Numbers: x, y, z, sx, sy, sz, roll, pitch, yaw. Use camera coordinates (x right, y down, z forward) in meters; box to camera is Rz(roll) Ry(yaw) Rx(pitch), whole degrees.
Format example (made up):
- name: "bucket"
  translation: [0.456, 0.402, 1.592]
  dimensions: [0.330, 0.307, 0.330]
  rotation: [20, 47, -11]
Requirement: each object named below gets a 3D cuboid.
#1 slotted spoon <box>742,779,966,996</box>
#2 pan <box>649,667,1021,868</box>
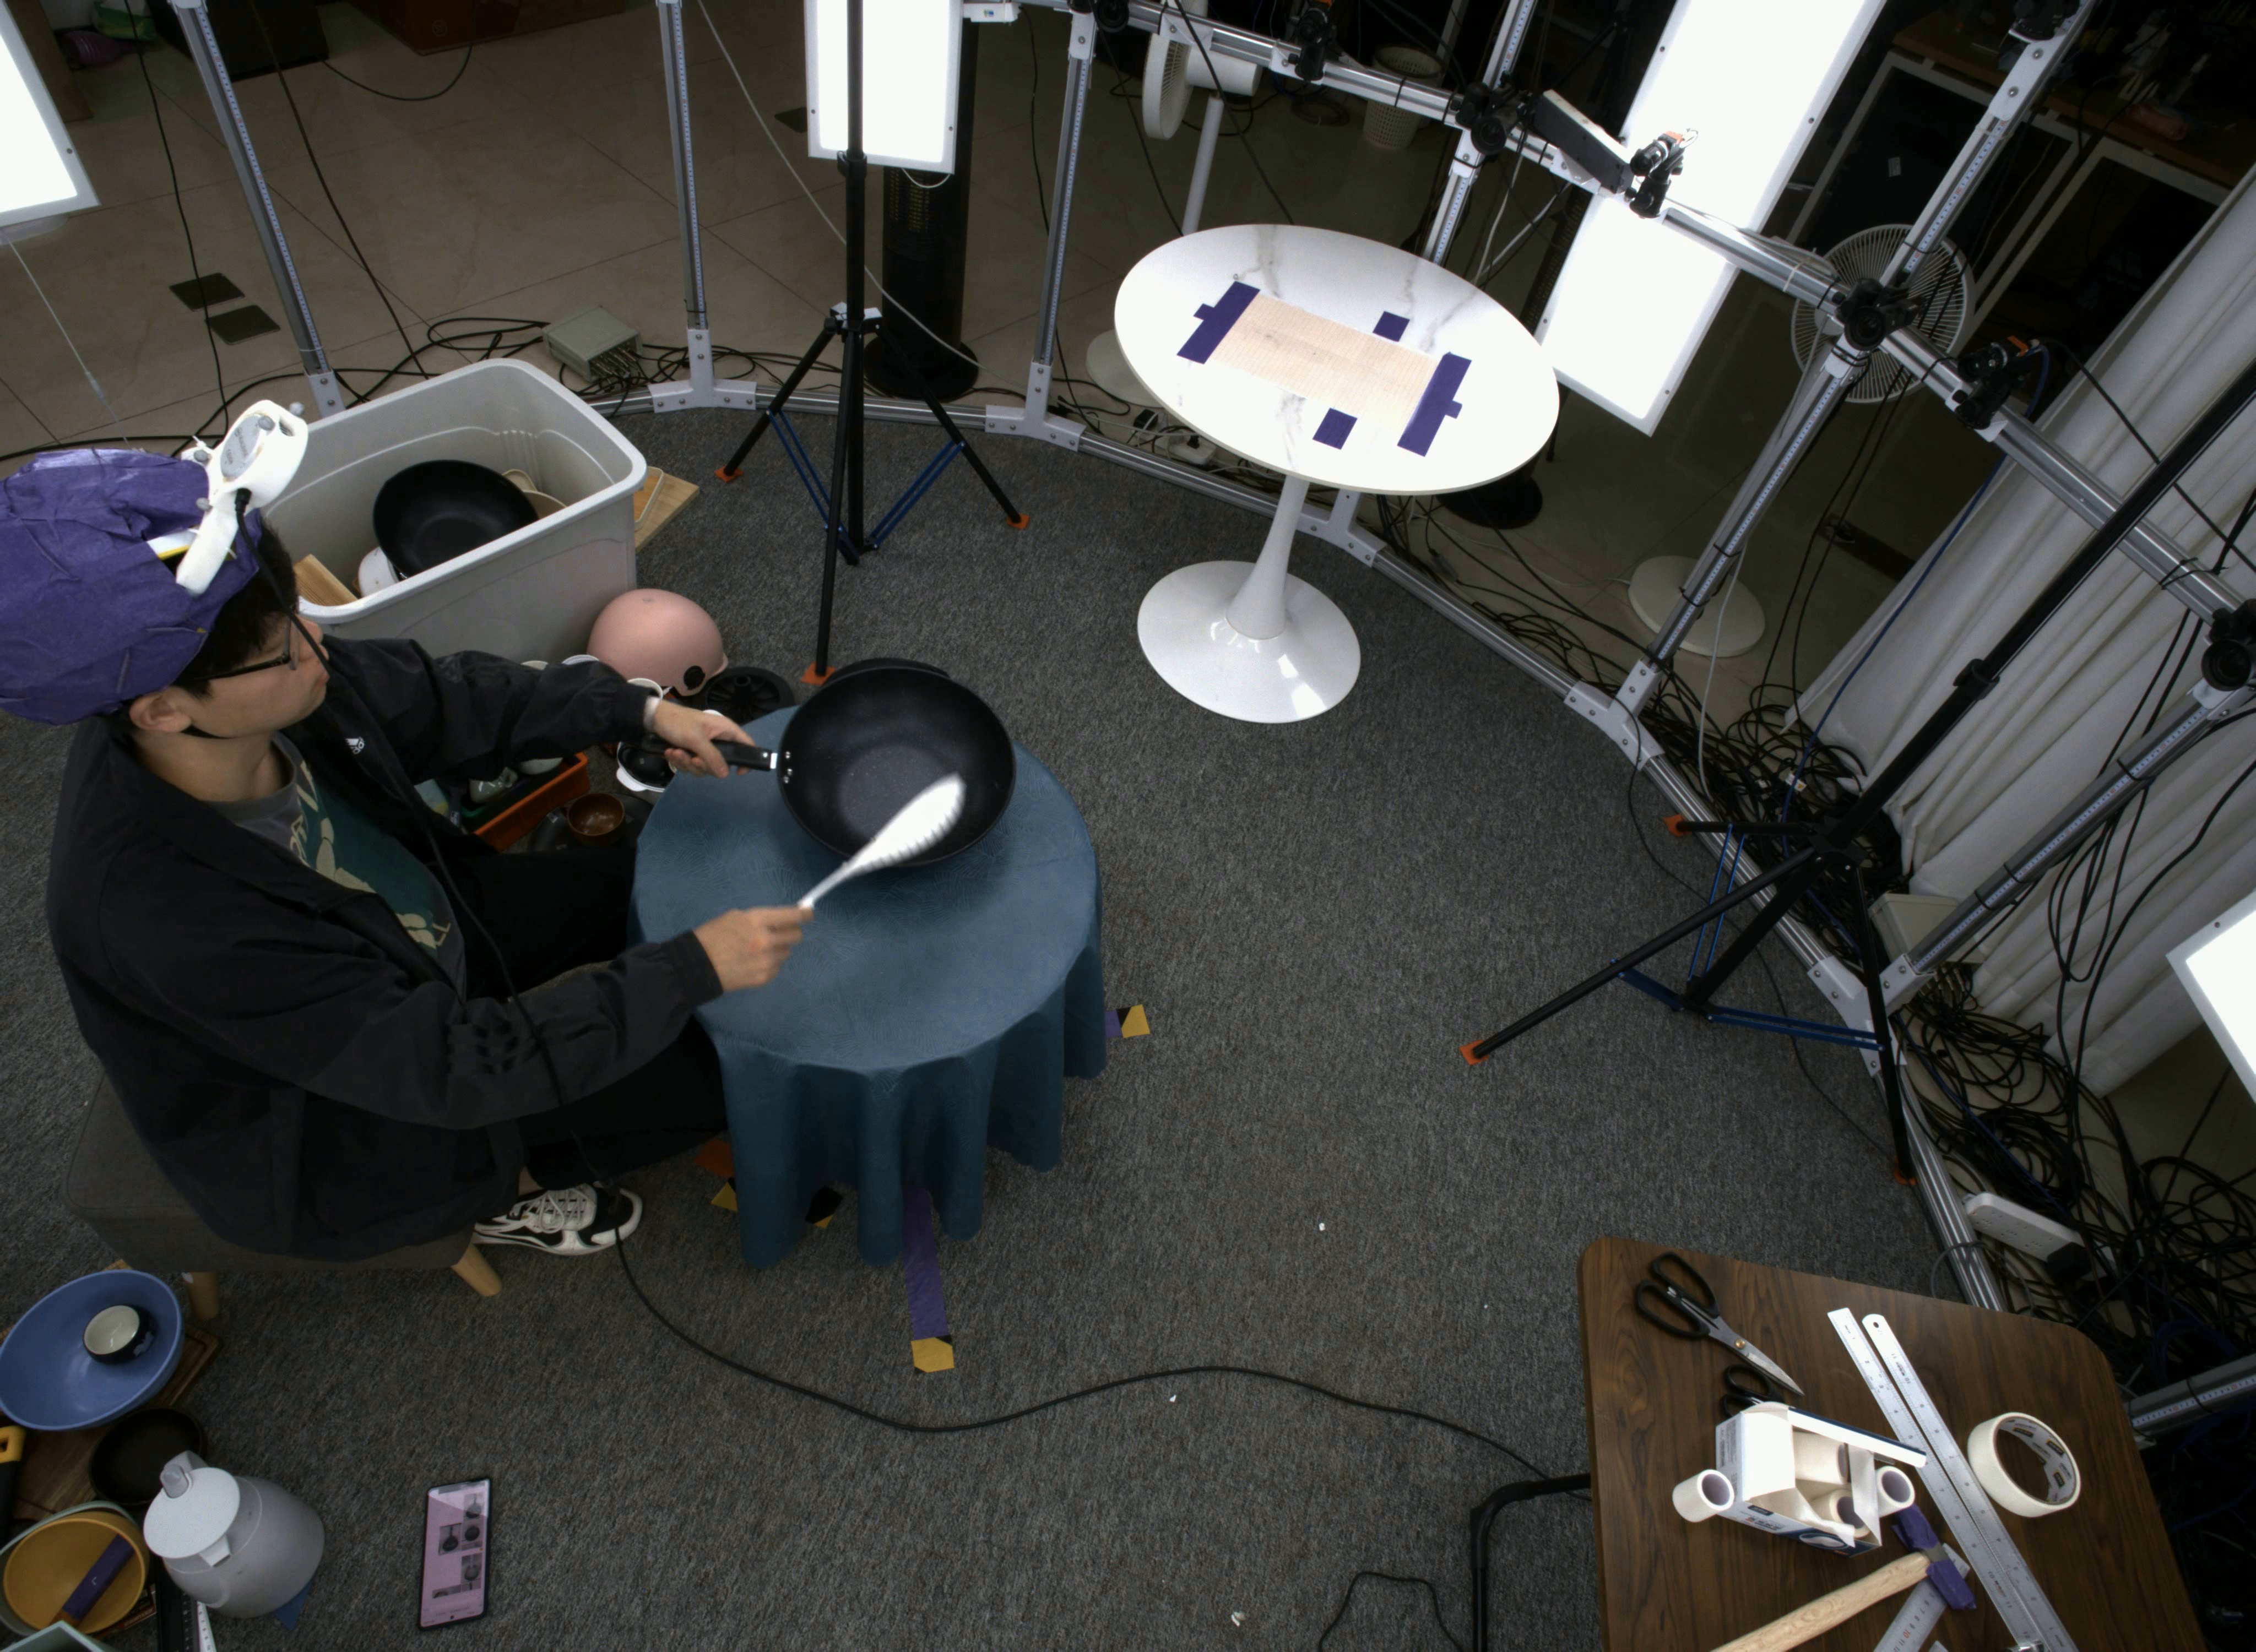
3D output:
- name: "slotted spoon"
  translation: [-0.317, 0.066, 1.503]
  dimensions: [0.347, 0.133, 0.051]
  rotation: [-38, 105, -14]
- name: "pan"
  translation: [-0.379, -0.073, 1.706]
  dimensions: [0.477, 0.113, 0.305]
  rotation: [2, 59, -14]
